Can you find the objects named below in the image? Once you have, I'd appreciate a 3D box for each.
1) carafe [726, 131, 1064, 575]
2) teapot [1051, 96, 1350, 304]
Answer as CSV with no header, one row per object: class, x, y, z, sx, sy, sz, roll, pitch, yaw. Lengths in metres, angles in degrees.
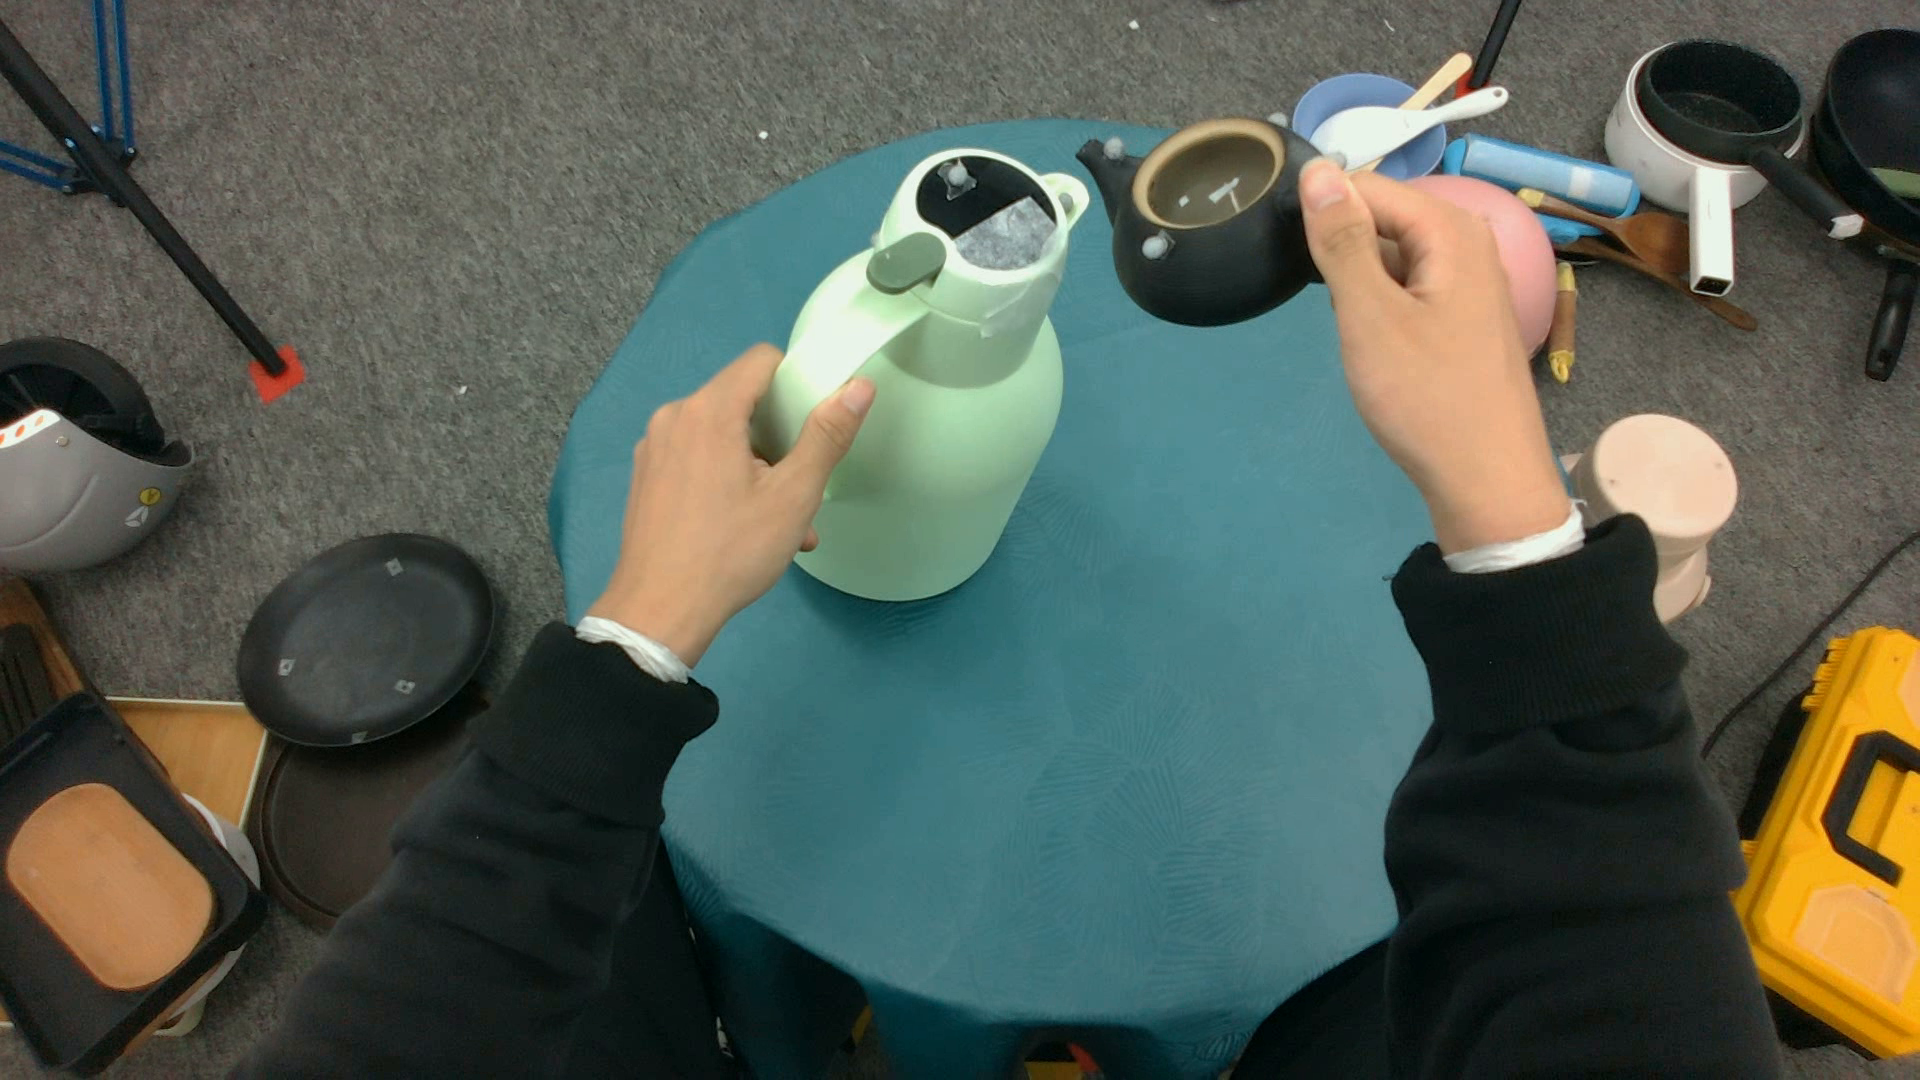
carafe,-0.040,-0.085,0.691,0.187,0.255,0.144,-40,80,-27
teapot,0.094,-0.134,0.540,0.133,0.053,0.091,25,72,38
